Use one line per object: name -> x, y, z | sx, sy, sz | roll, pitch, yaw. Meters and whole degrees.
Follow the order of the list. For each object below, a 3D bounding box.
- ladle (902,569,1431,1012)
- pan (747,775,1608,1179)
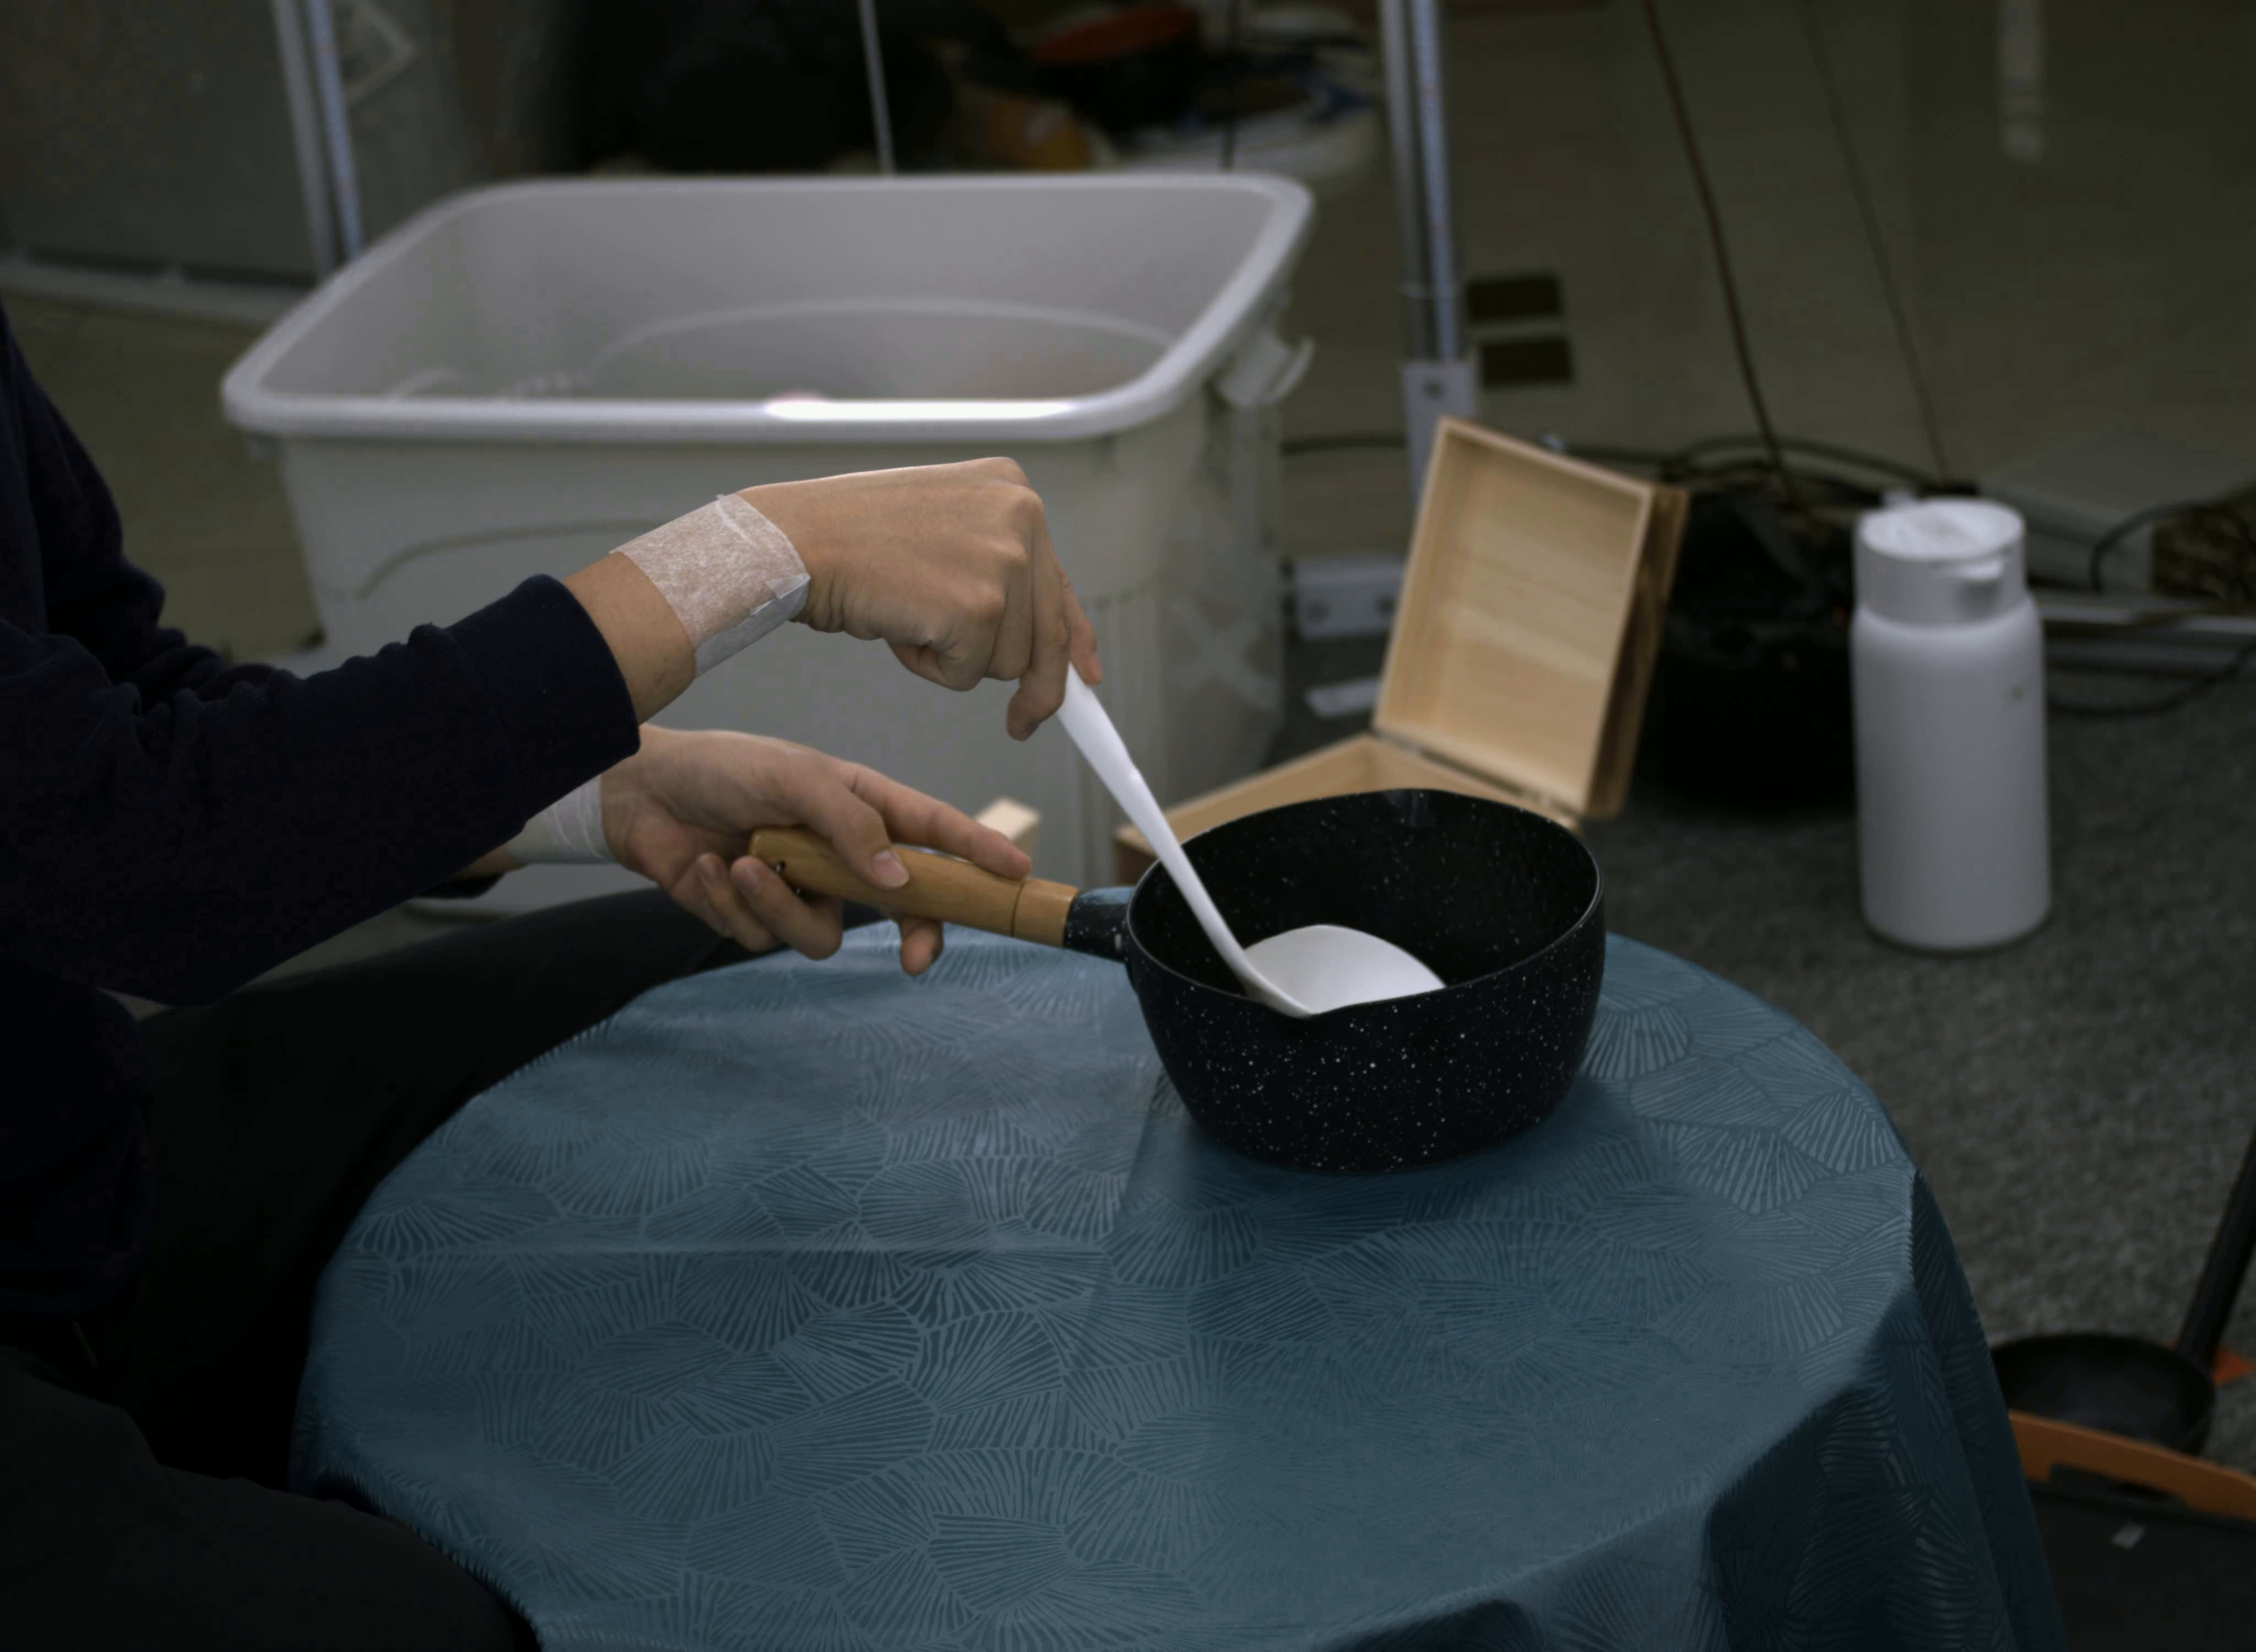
ladle -> 0.025, 0.002, 2.133 | 0.070, 0.297, 0.088 | -27, 36, 19
pan -> 0.017, 0.051, 2.201 | 0.342, 0.110, 0.204 | 2, 28, 15
